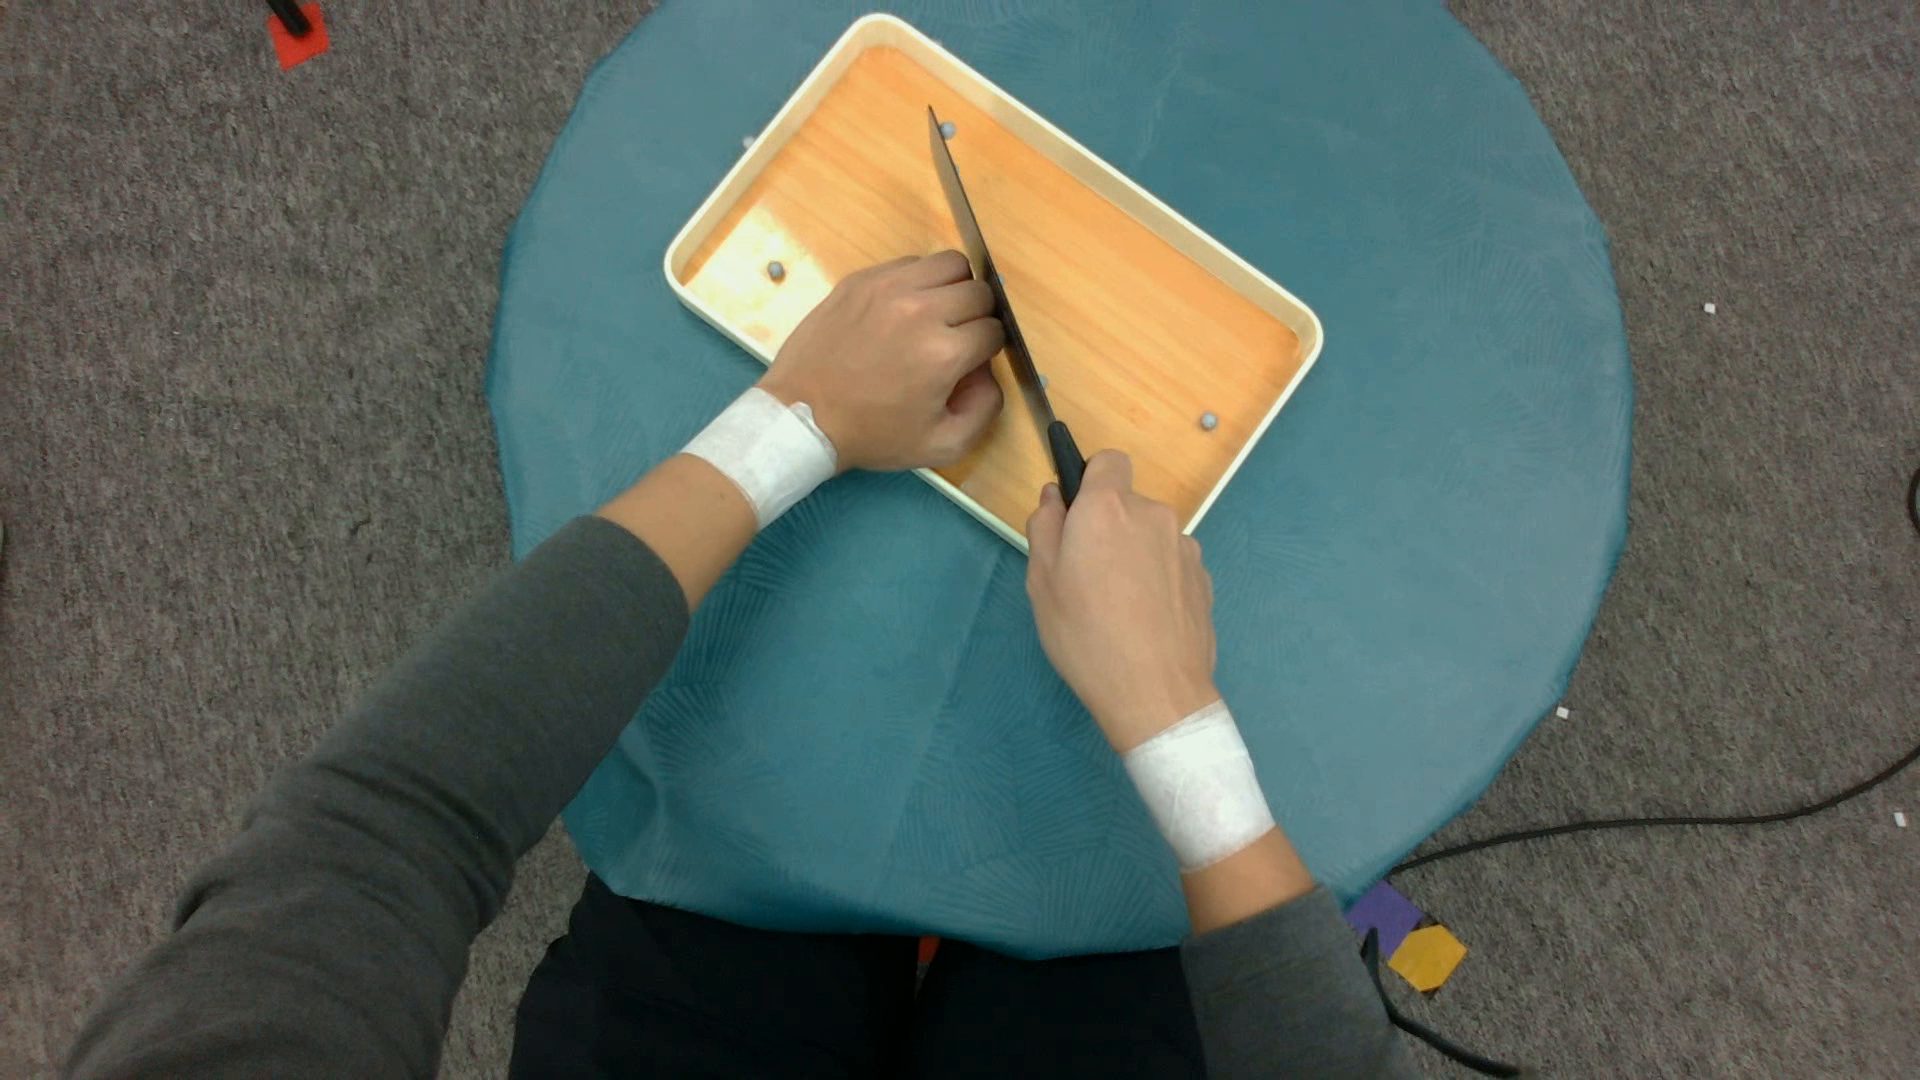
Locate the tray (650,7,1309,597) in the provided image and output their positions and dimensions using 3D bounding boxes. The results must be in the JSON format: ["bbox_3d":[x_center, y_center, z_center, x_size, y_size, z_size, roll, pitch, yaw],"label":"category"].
[{"bbox_3d":[0.010,-0.126,0.715,0.300,0.027,0.192,36,79,4],"label":"tray"}]

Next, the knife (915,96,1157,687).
[{"bbox_3d":[0.030,-0.073,0.663,0.021,0.081,0.303,-20,76,-3],"label":"knife"}]
